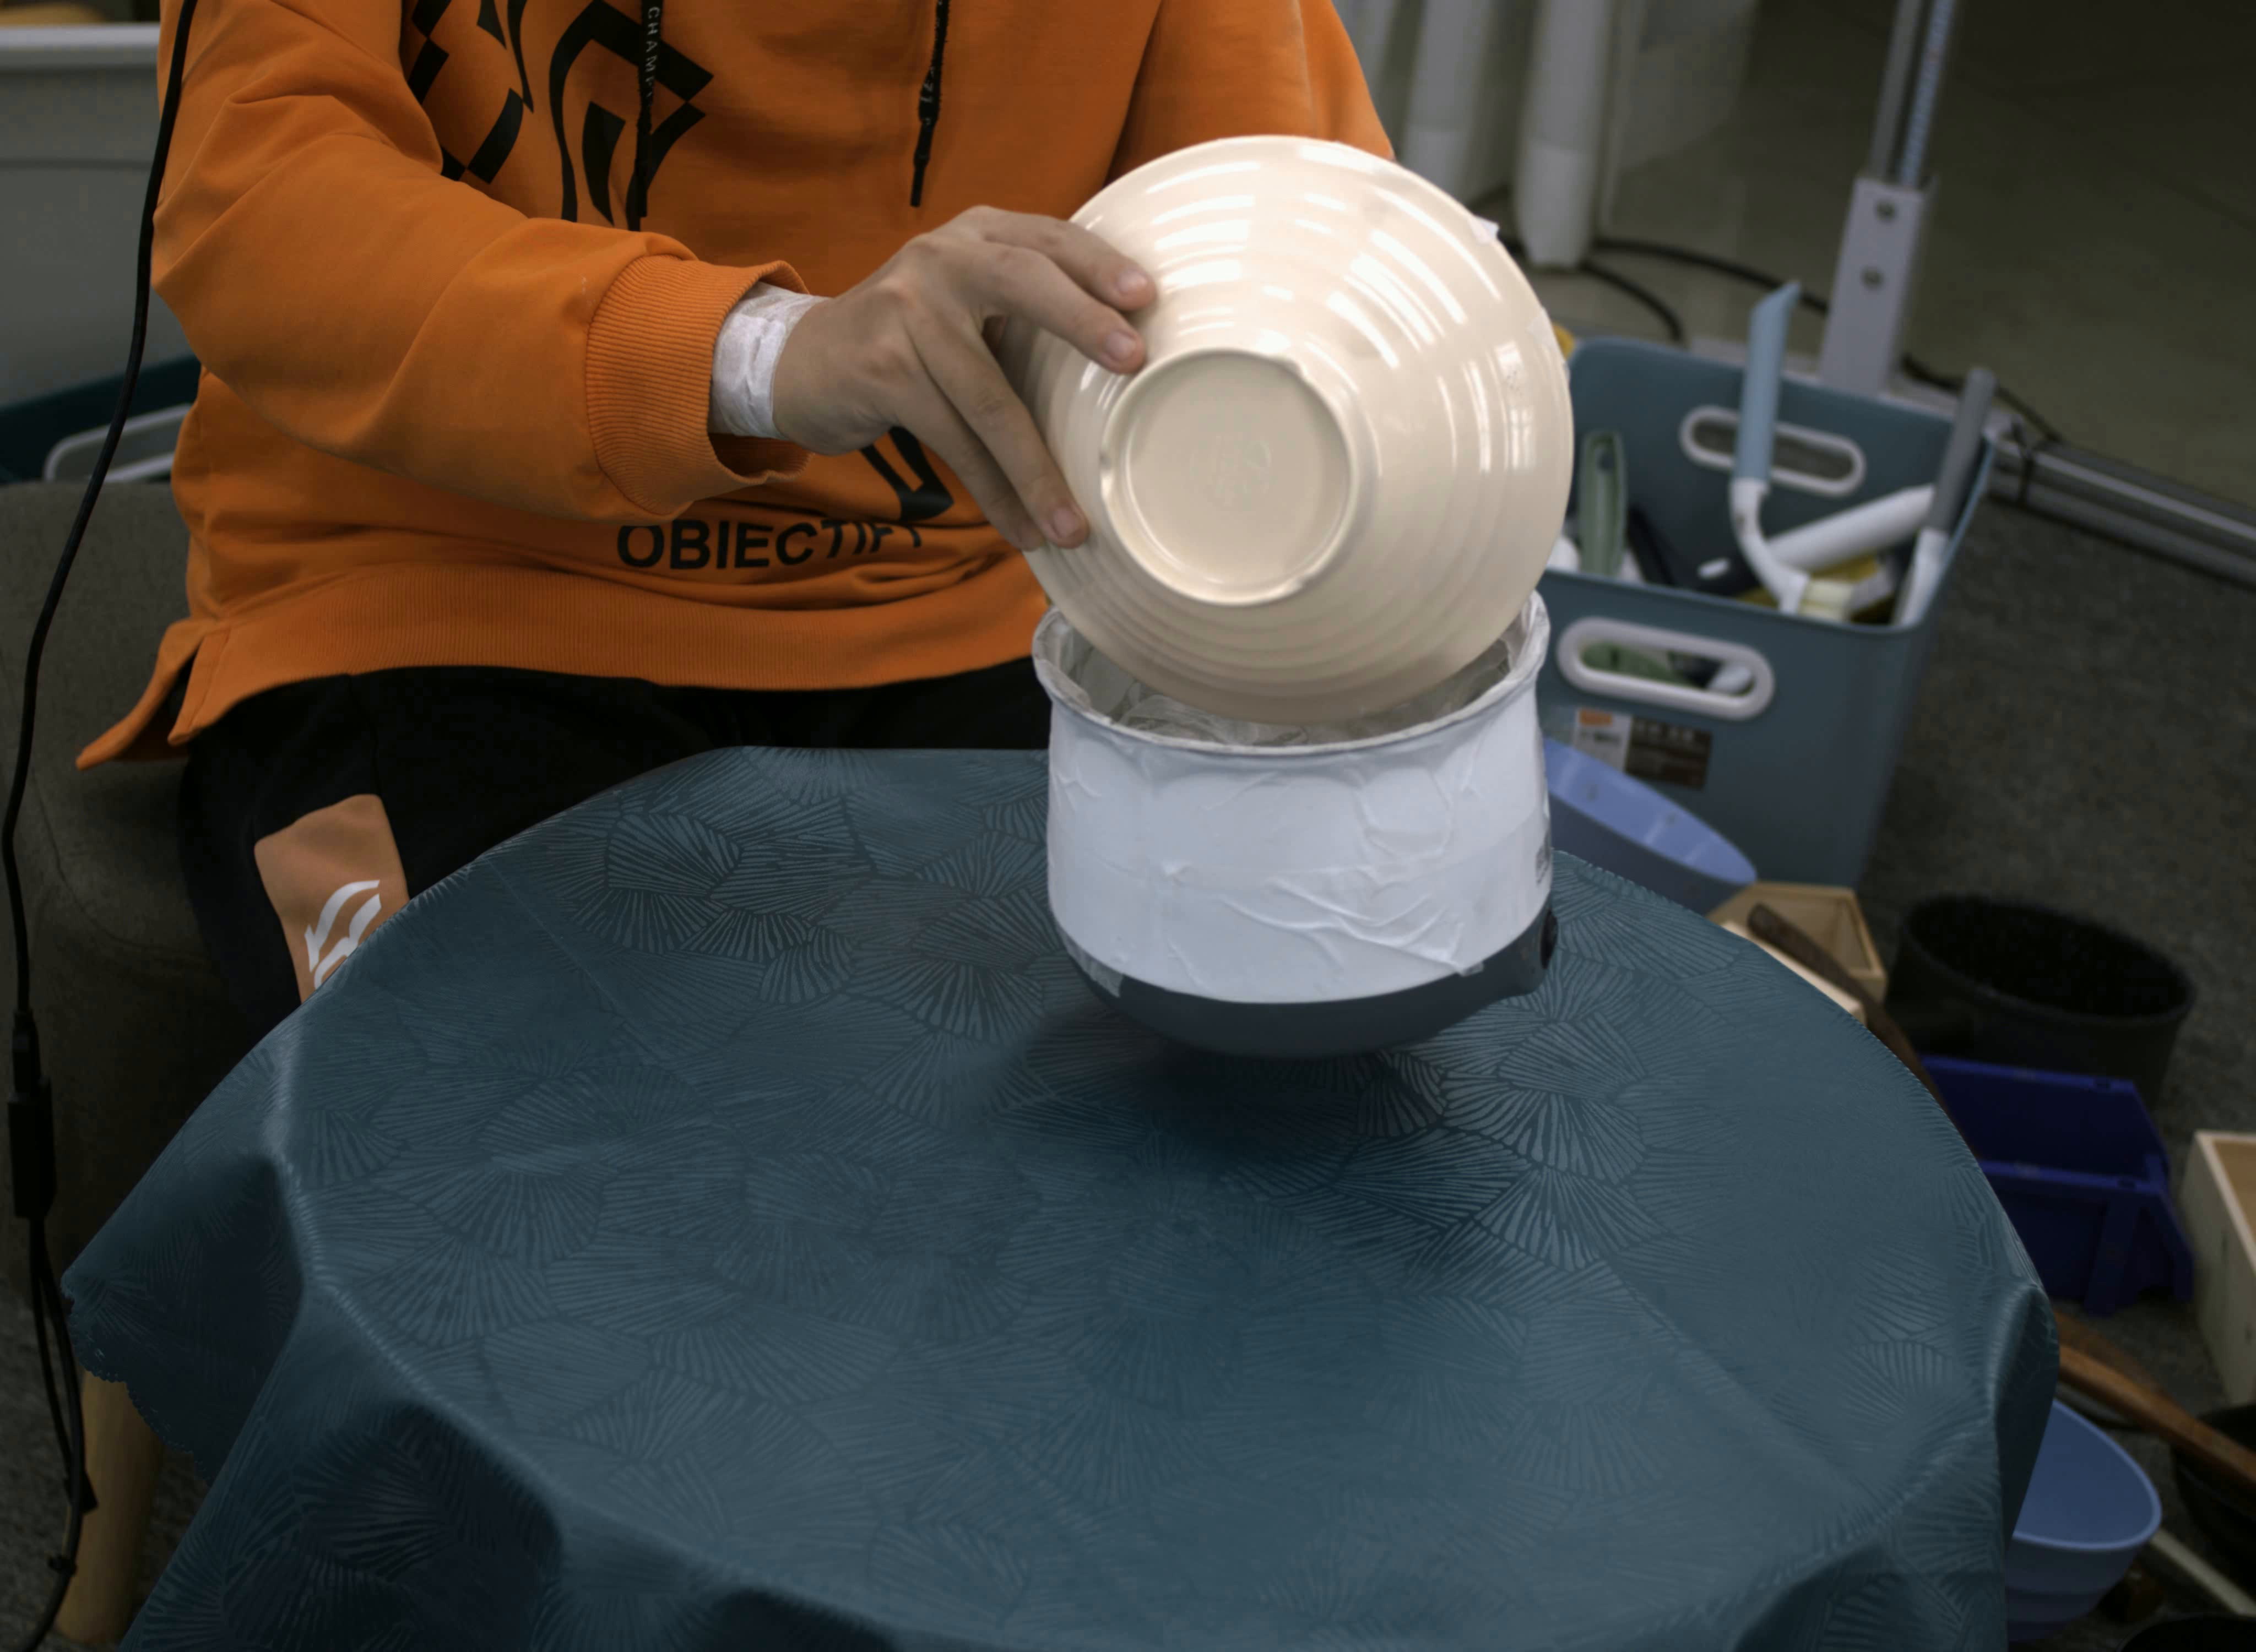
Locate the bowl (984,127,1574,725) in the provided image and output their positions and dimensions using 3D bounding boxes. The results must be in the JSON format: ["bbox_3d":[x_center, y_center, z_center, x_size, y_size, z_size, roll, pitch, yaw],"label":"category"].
[{"bbox_3d":[0.043,-0.126,1.766,0.204,0.204,0.078,12,15,10],"label":"bowl"}]

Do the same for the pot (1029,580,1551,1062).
[{"bbox_3d":[0.063,-0.024,1.867,0.179,0.136,0.234,4,29,12],"label":"pot"}]
